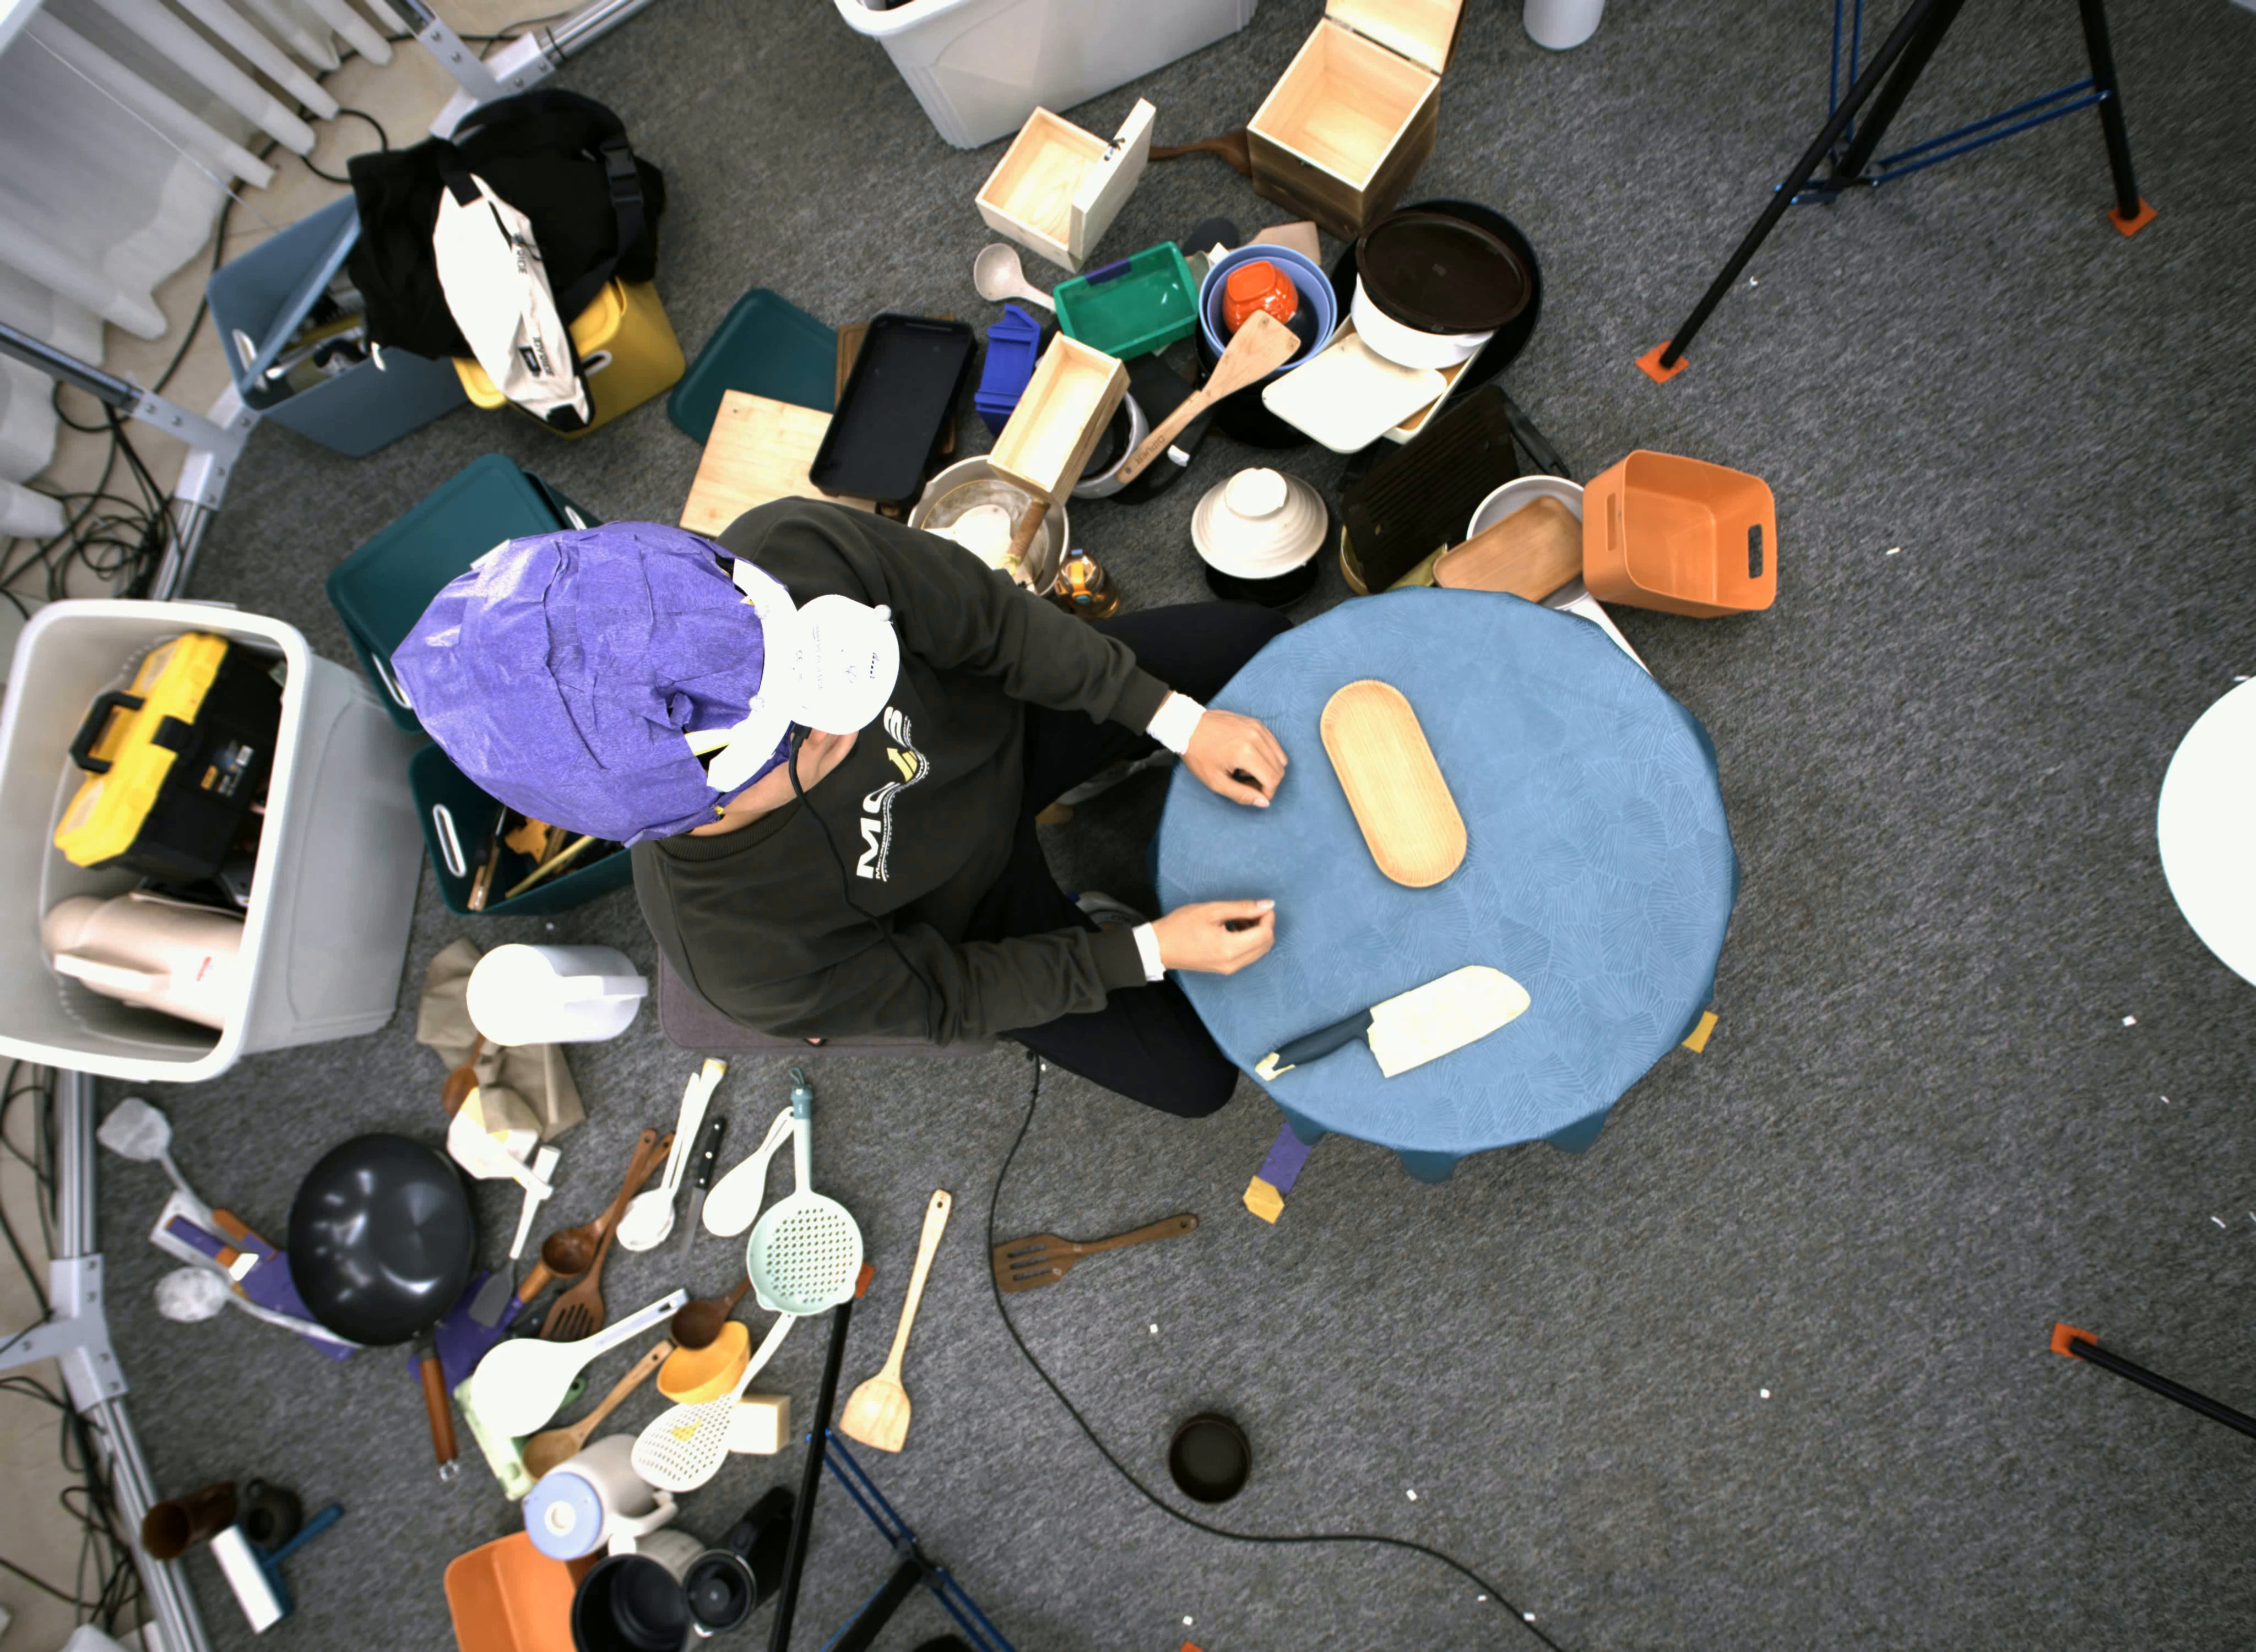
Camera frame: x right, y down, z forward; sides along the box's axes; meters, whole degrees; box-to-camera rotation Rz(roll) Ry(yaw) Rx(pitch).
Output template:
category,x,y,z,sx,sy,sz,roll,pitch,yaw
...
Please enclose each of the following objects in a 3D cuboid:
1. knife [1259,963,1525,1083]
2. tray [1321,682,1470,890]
category,x,y,z,sx,sy,sz,roll,pitch,yaw
knife,0.276,0.216,1.444,0.291,0.027,0.080,-22,81,8
tray,0.282,-0.044,1.456,0.102,0.020,0.230,-24,84,10
